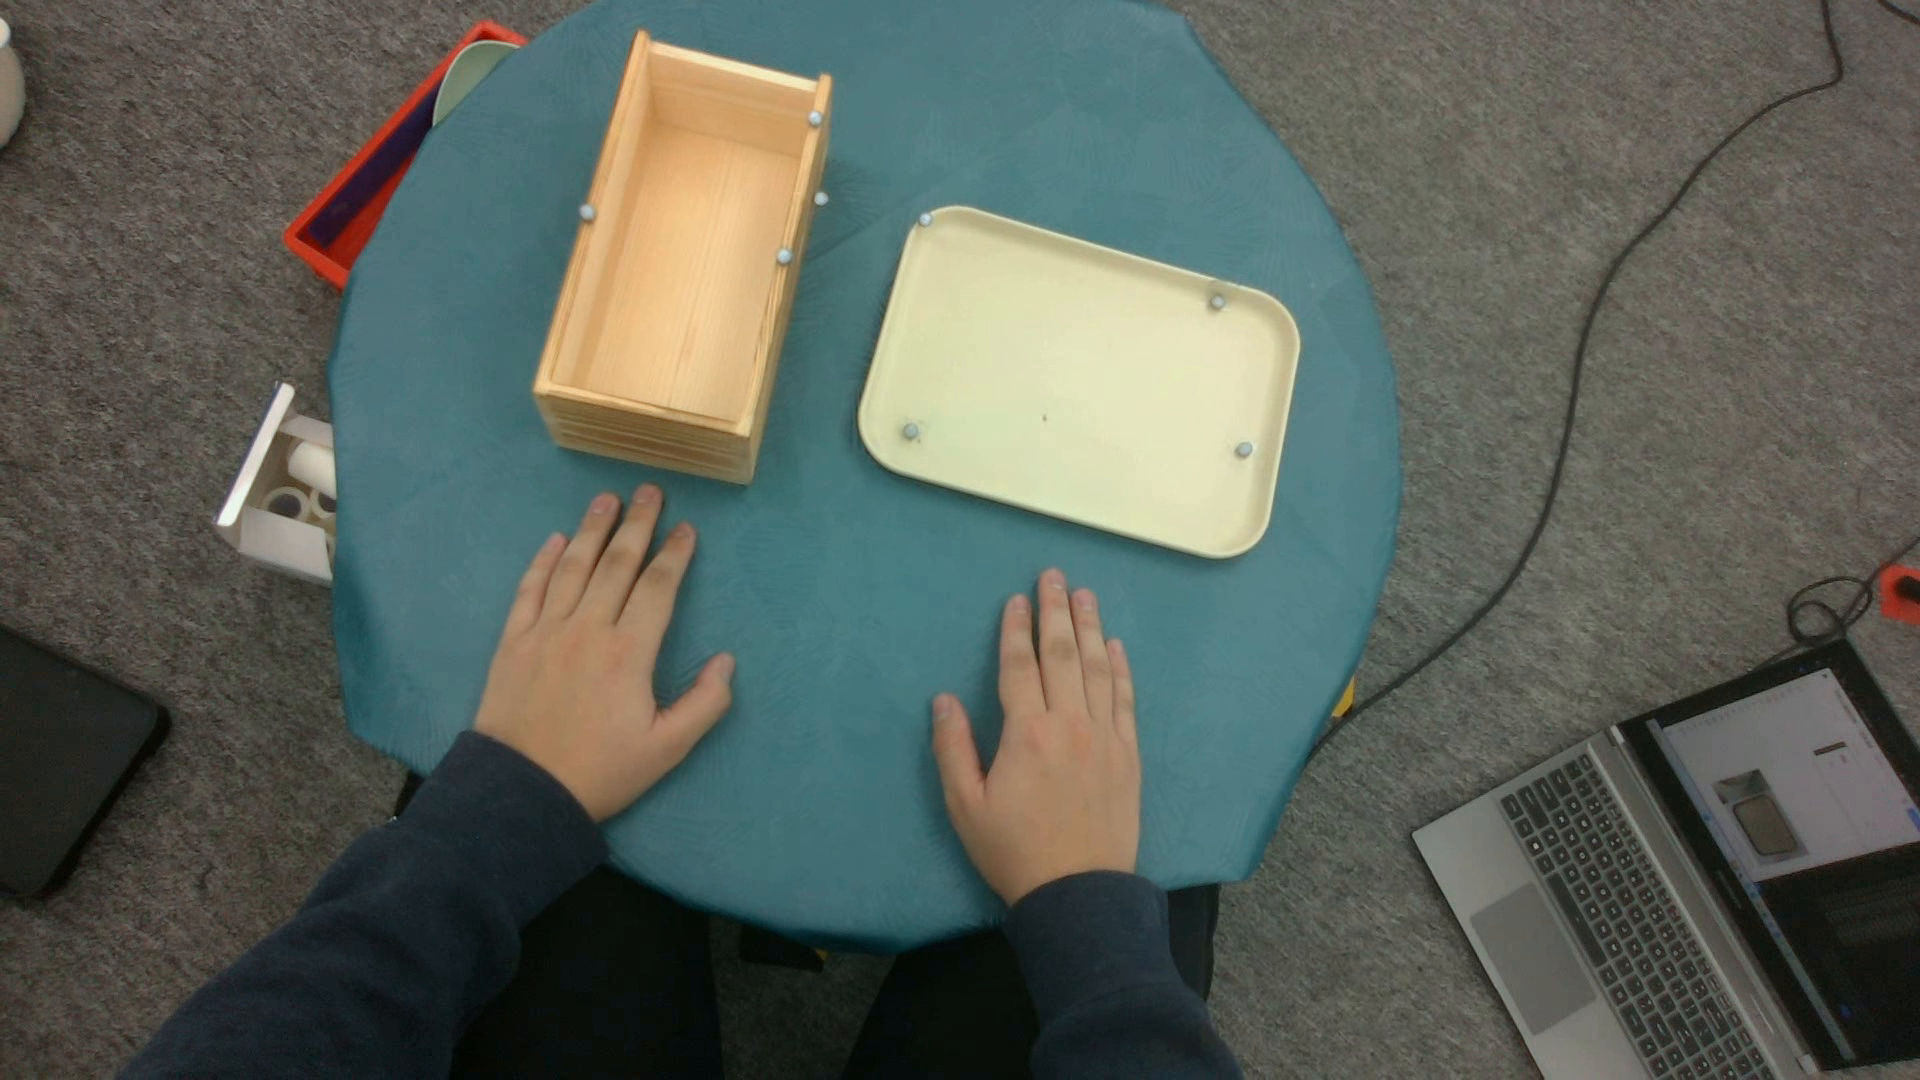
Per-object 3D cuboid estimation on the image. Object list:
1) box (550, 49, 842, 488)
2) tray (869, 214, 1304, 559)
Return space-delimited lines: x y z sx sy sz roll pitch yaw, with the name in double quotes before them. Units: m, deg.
"box" -0.138 -0.147 0.753 0.107 0.080 0.212 11 72 -4
"tray" 0.076 -0.089 0.799 0.240 0.017 0.172 15 73 -3
